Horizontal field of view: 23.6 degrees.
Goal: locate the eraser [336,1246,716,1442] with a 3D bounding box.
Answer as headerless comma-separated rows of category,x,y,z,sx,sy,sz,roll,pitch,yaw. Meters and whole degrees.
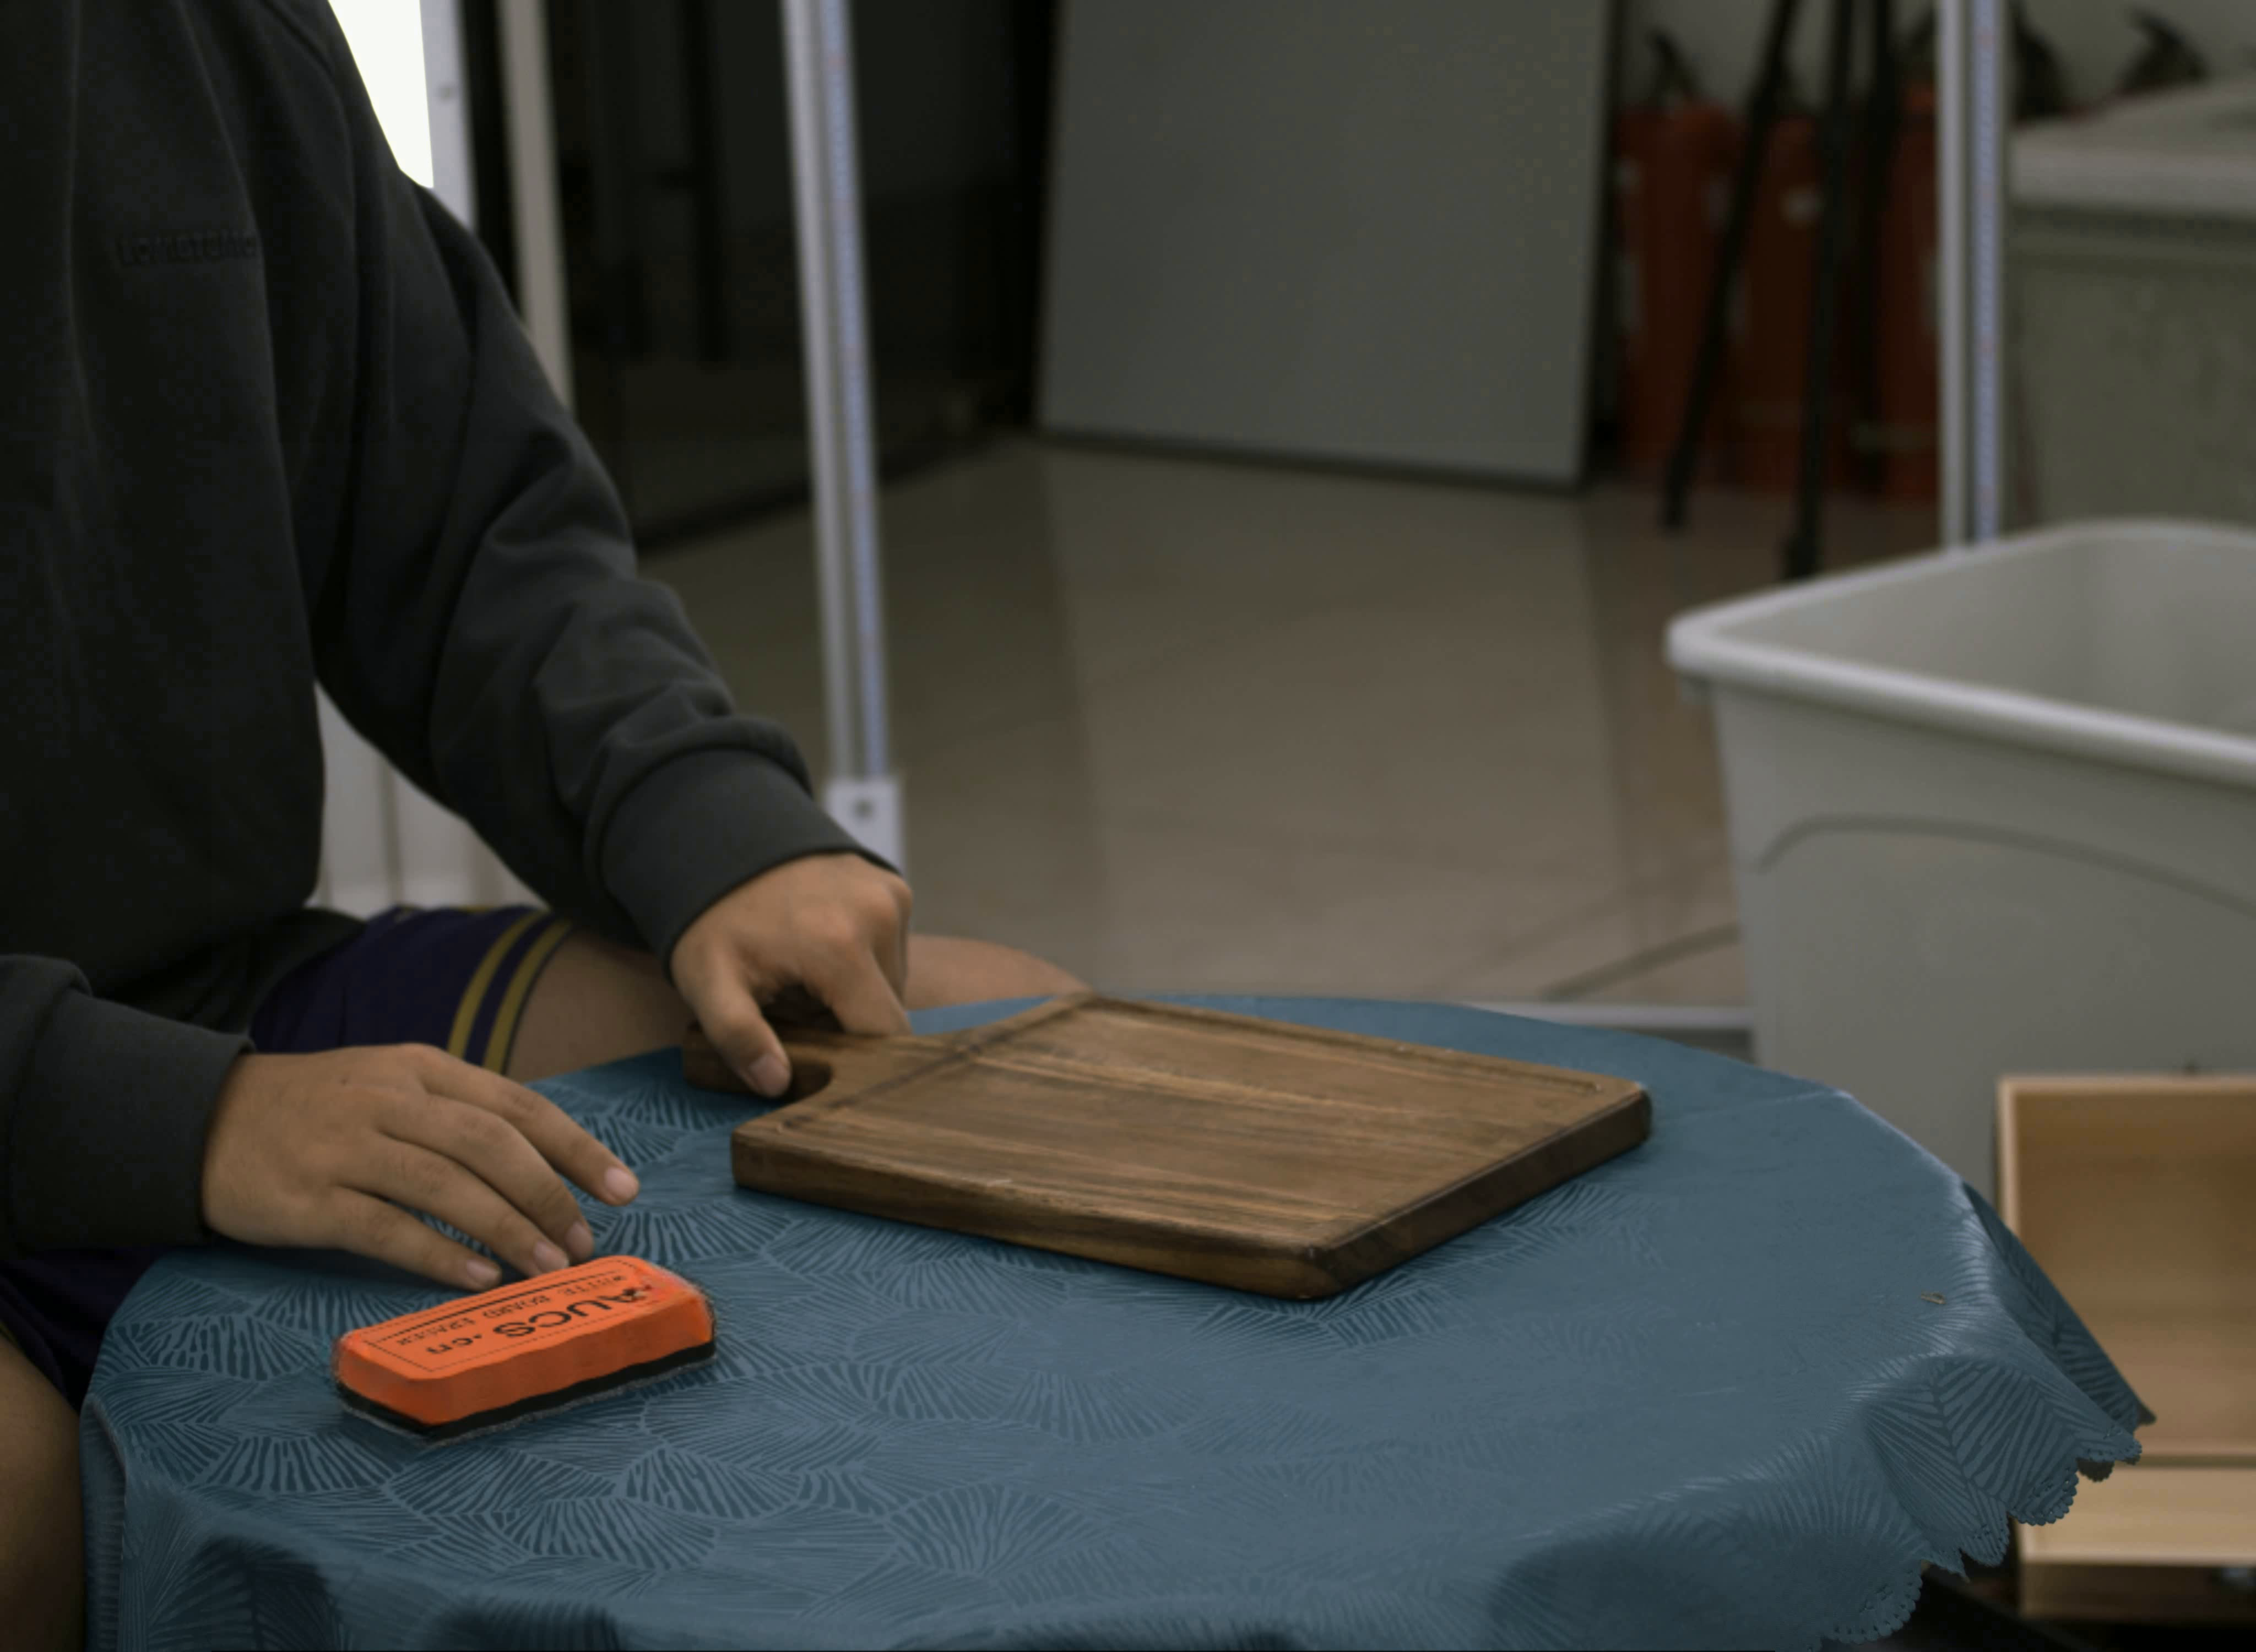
eraser,-0.179,0.154,1.620,0.106,0.023,0.059,-16,17,-36

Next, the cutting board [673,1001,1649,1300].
cutting board,-0.018,0.099,1.822,0.355,0.023,0.197,7,17,39
